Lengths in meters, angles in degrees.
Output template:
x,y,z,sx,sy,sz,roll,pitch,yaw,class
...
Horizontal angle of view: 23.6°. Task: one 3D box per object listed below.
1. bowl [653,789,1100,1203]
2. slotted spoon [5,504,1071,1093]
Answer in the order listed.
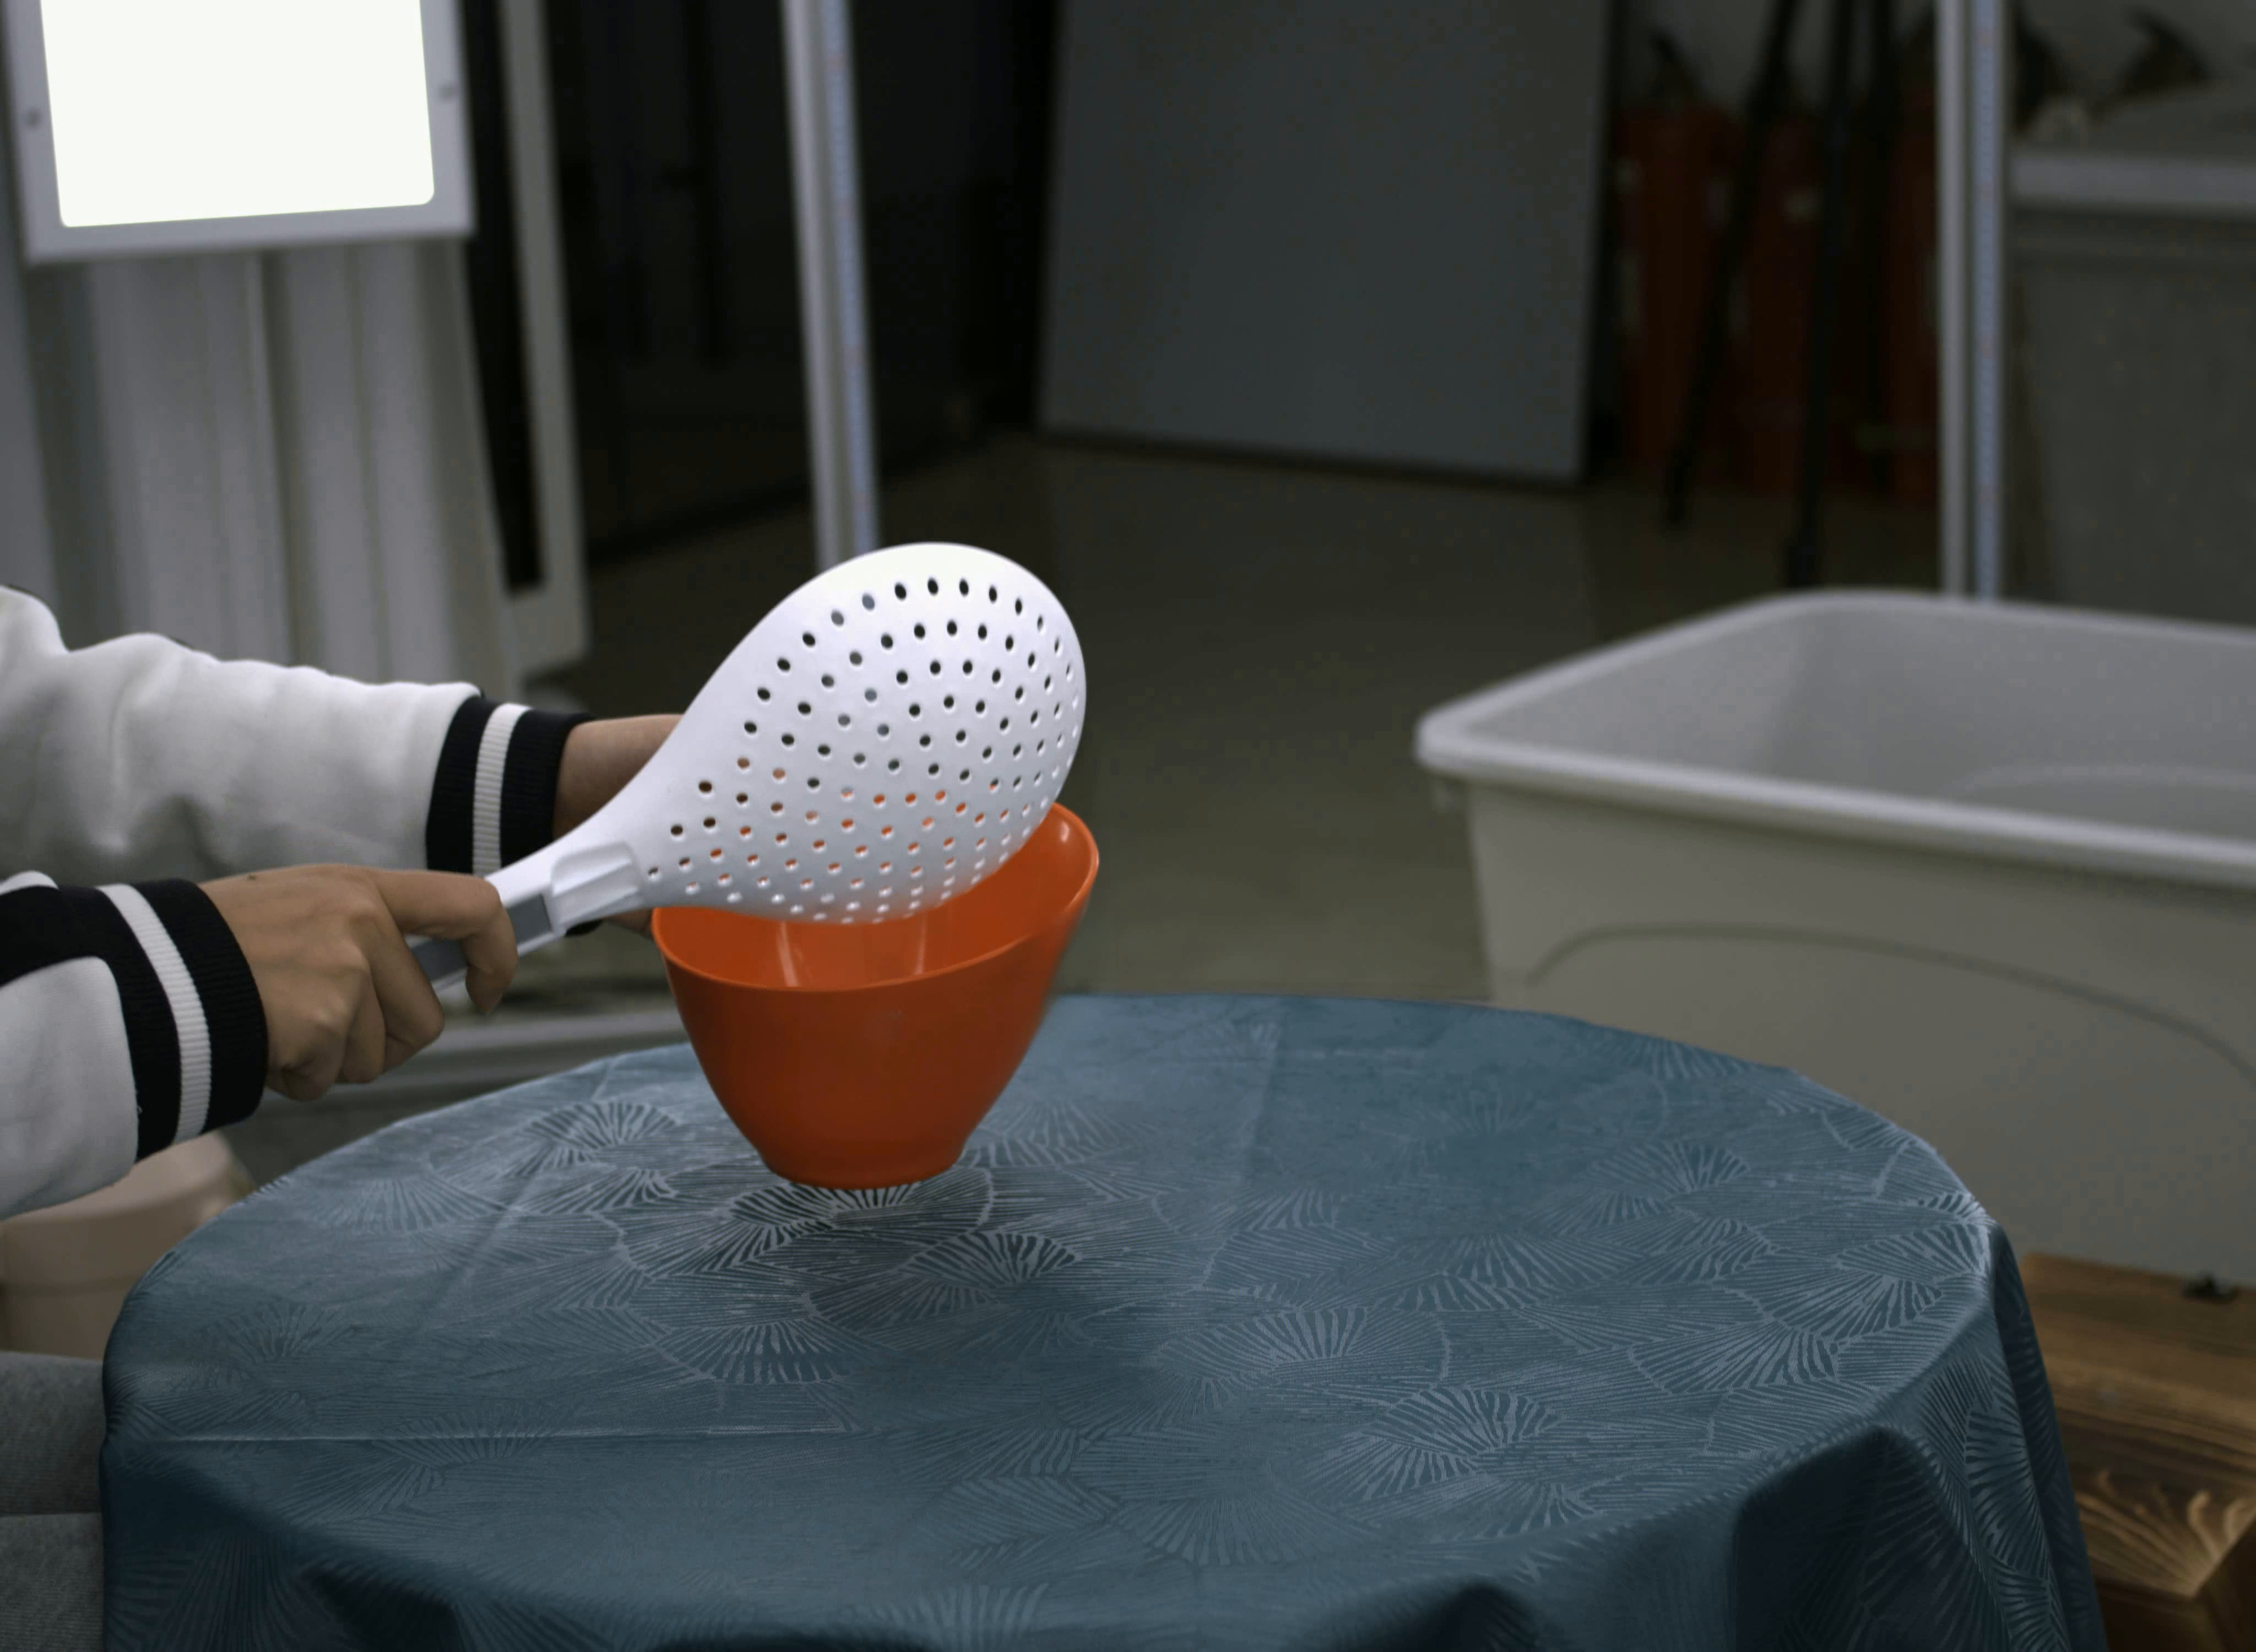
x,y,z,sx,sy,sz,roll,pitch,yaw,class
-0.080,0.059,1.766,0.146,0.106,0.148,-2,19,0,bowl
-0.173,0.001,1.636,0.345,0.136,0.046,-20,51,-5,slotted spoon
